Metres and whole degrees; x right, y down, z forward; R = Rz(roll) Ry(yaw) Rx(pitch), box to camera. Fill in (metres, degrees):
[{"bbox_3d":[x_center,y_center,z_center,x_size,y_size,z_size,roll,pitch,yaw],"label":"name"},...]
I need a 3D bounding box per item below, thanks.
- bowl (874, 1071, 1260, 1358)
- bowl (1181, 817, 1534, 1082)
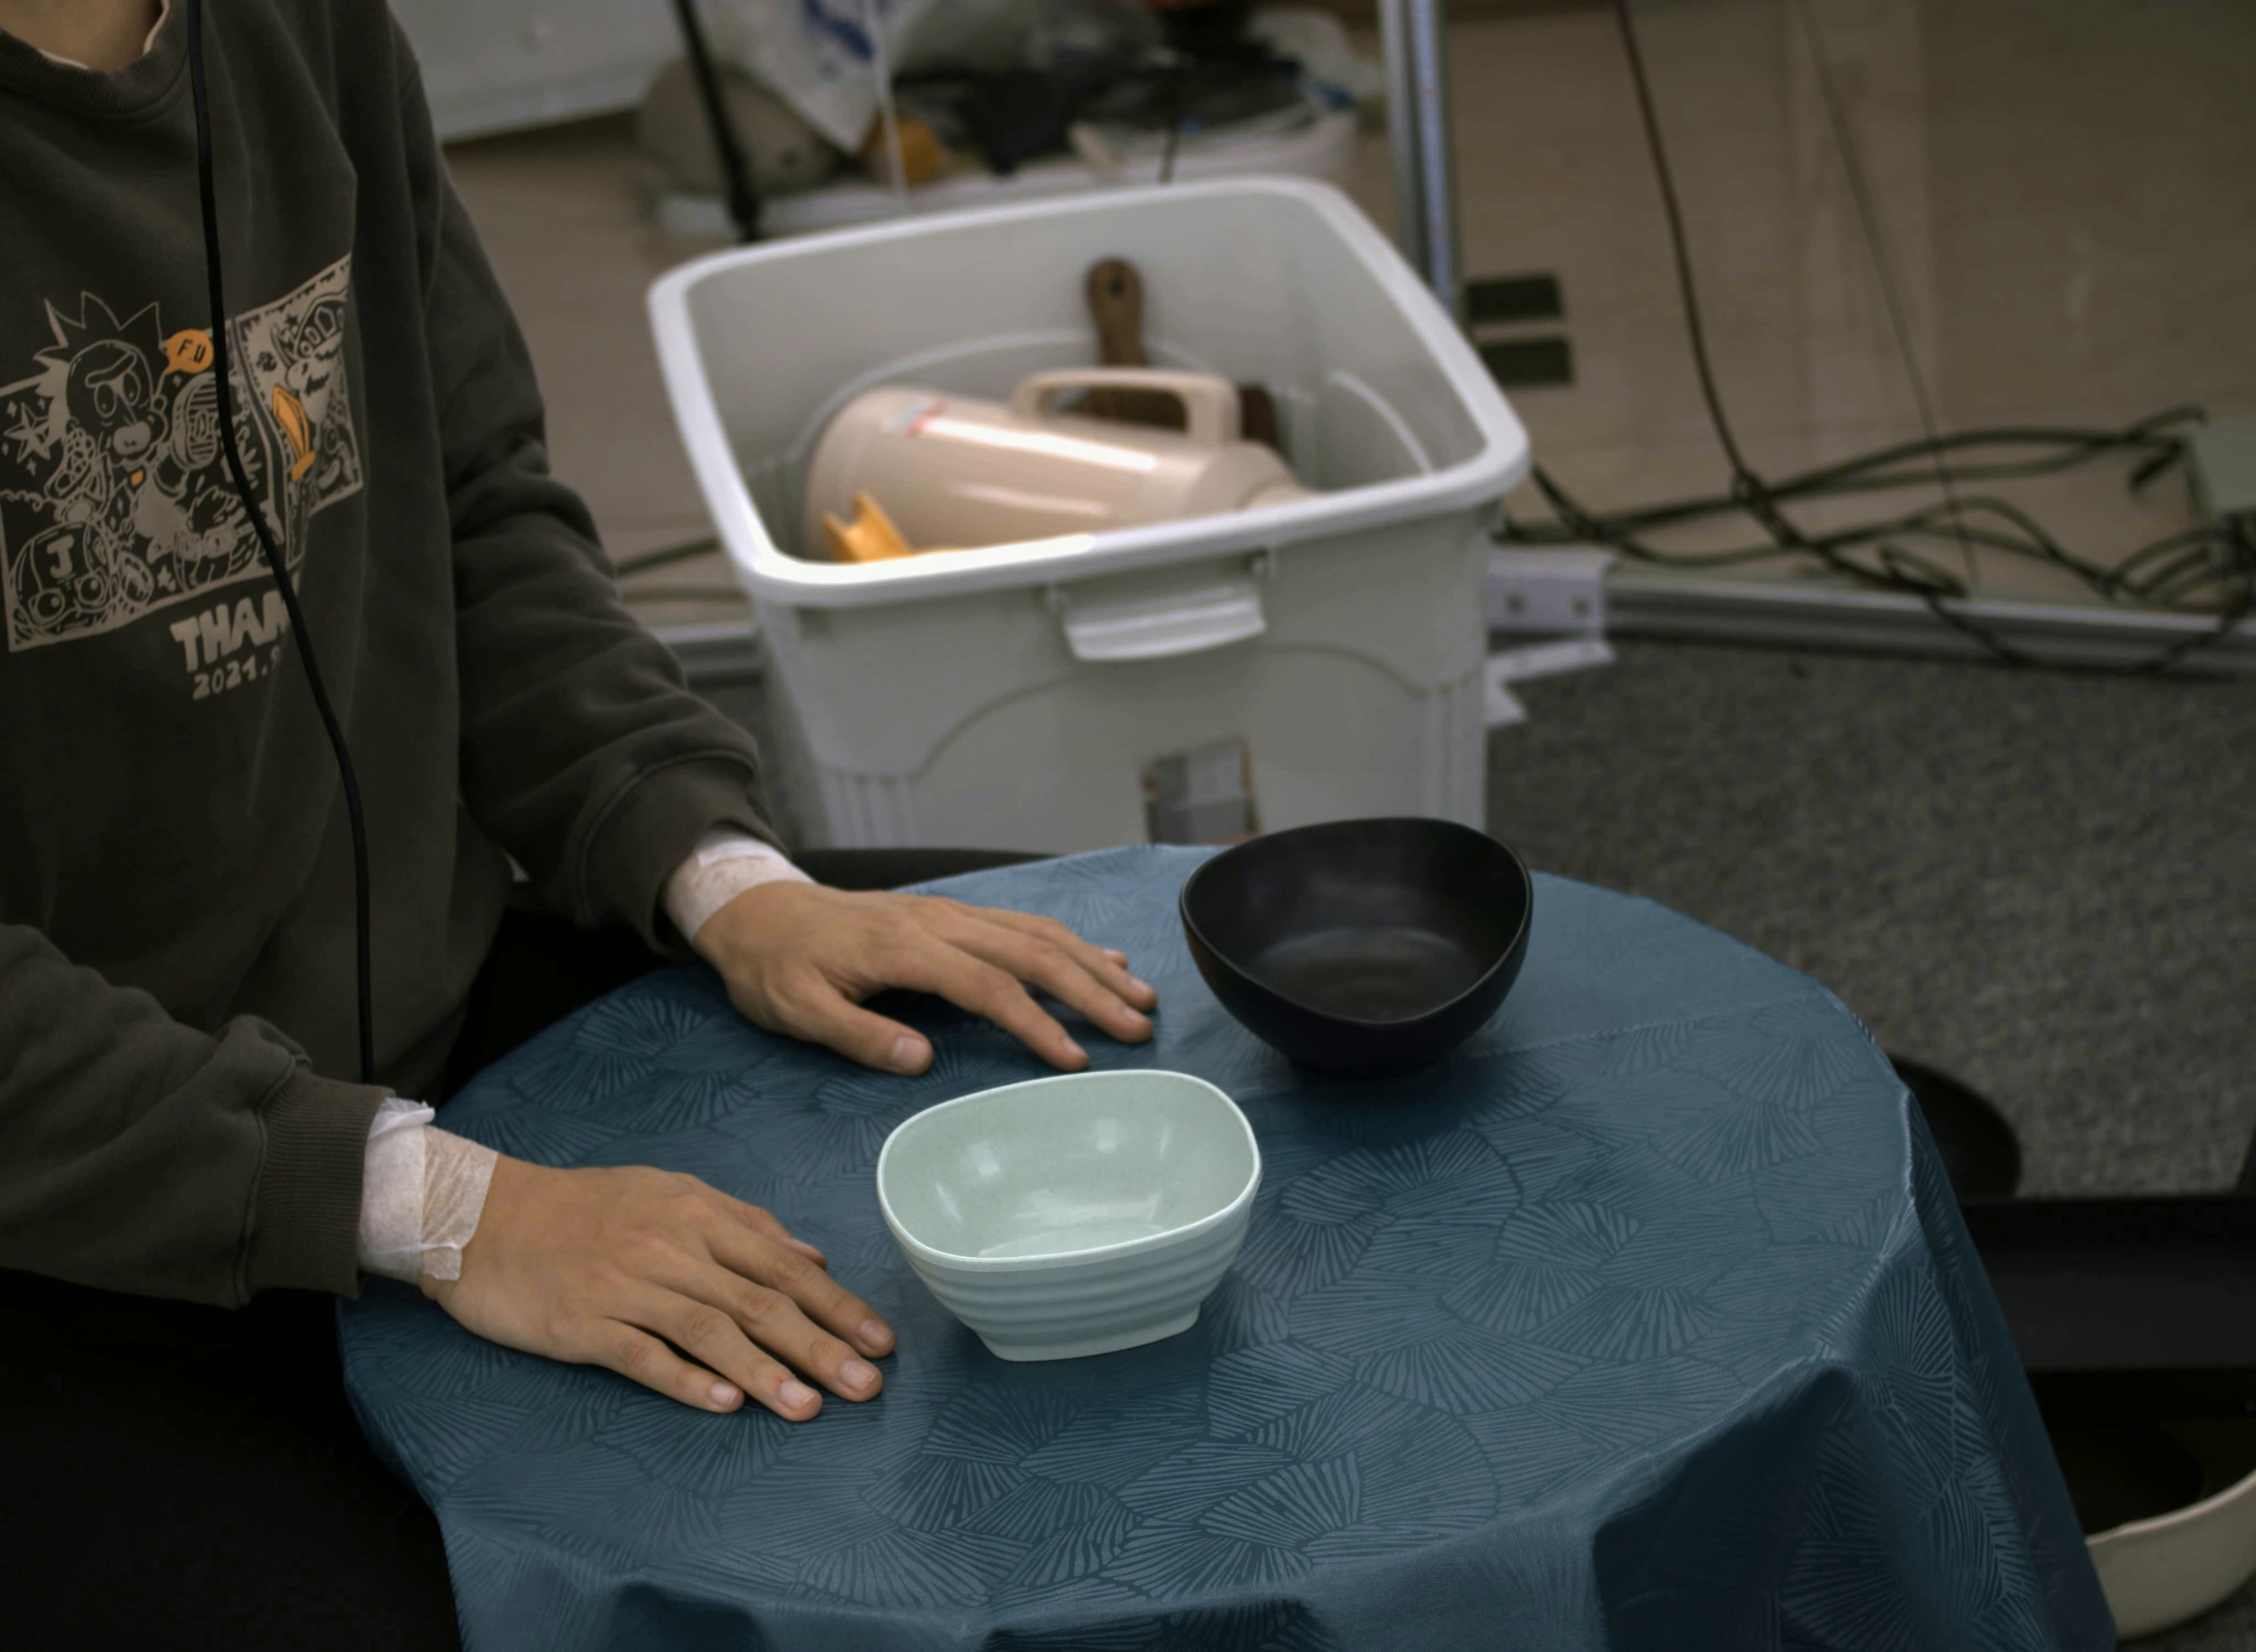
[{"bbox_3d":[-0.021,0.147,2.065,0.151,0.059,0.149,-3,25,2],"label":"bowl"},{"bbox_3d":[0.093,0.056,2.226,0.137,0.068,0.168,-11,27,-8],"label":"bowl"}]
